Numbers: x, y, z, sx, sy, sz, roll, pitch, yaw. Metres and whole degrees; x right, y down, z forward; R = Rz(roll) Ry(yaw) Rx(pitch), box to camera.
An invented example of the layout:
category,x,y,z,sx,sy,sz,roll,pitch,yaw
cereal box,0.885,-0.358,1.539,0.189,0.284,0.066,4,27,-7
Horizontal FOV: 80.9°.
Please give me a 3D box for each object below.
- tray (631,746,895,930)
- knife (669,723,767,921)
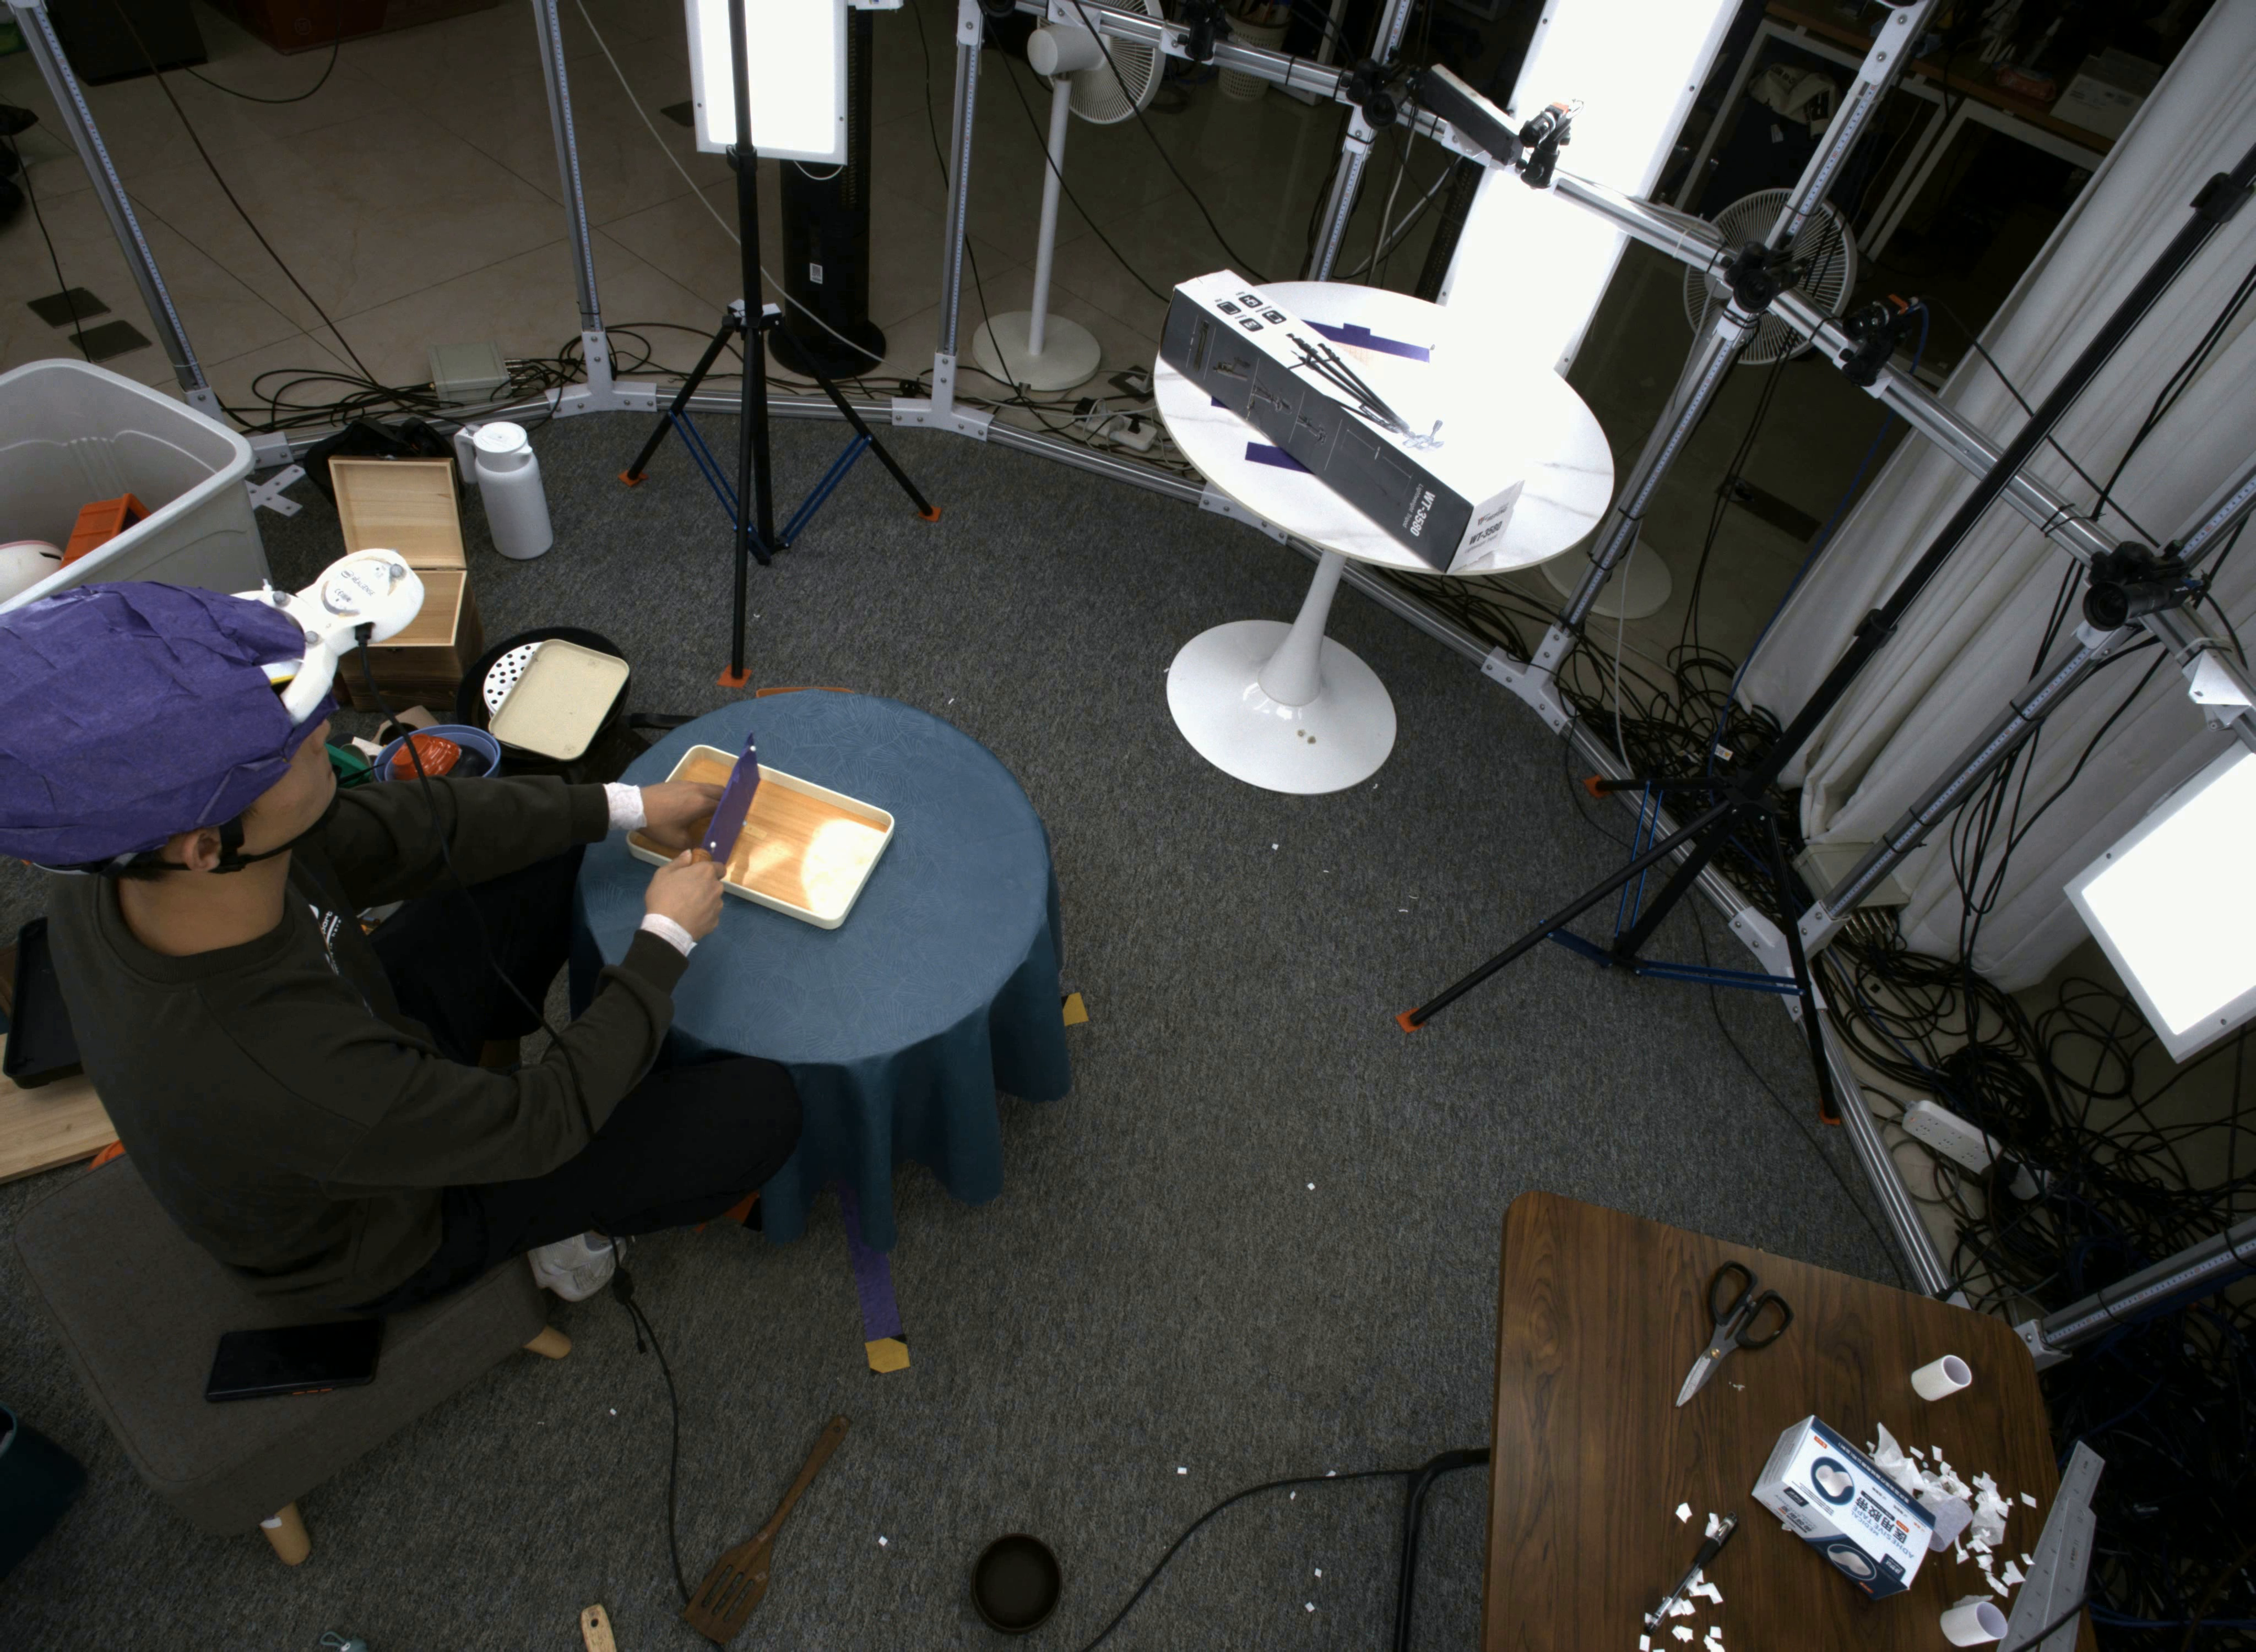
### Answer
category,x,y,z,sx,sy,sz,roll,pitch,yaw
tray,-0.476,0.011,1.695,0.297,0.028,0.189,20,51,1
knife,-0.500,0.010,1.608,0.032,0.107,0.310,5,46,3
